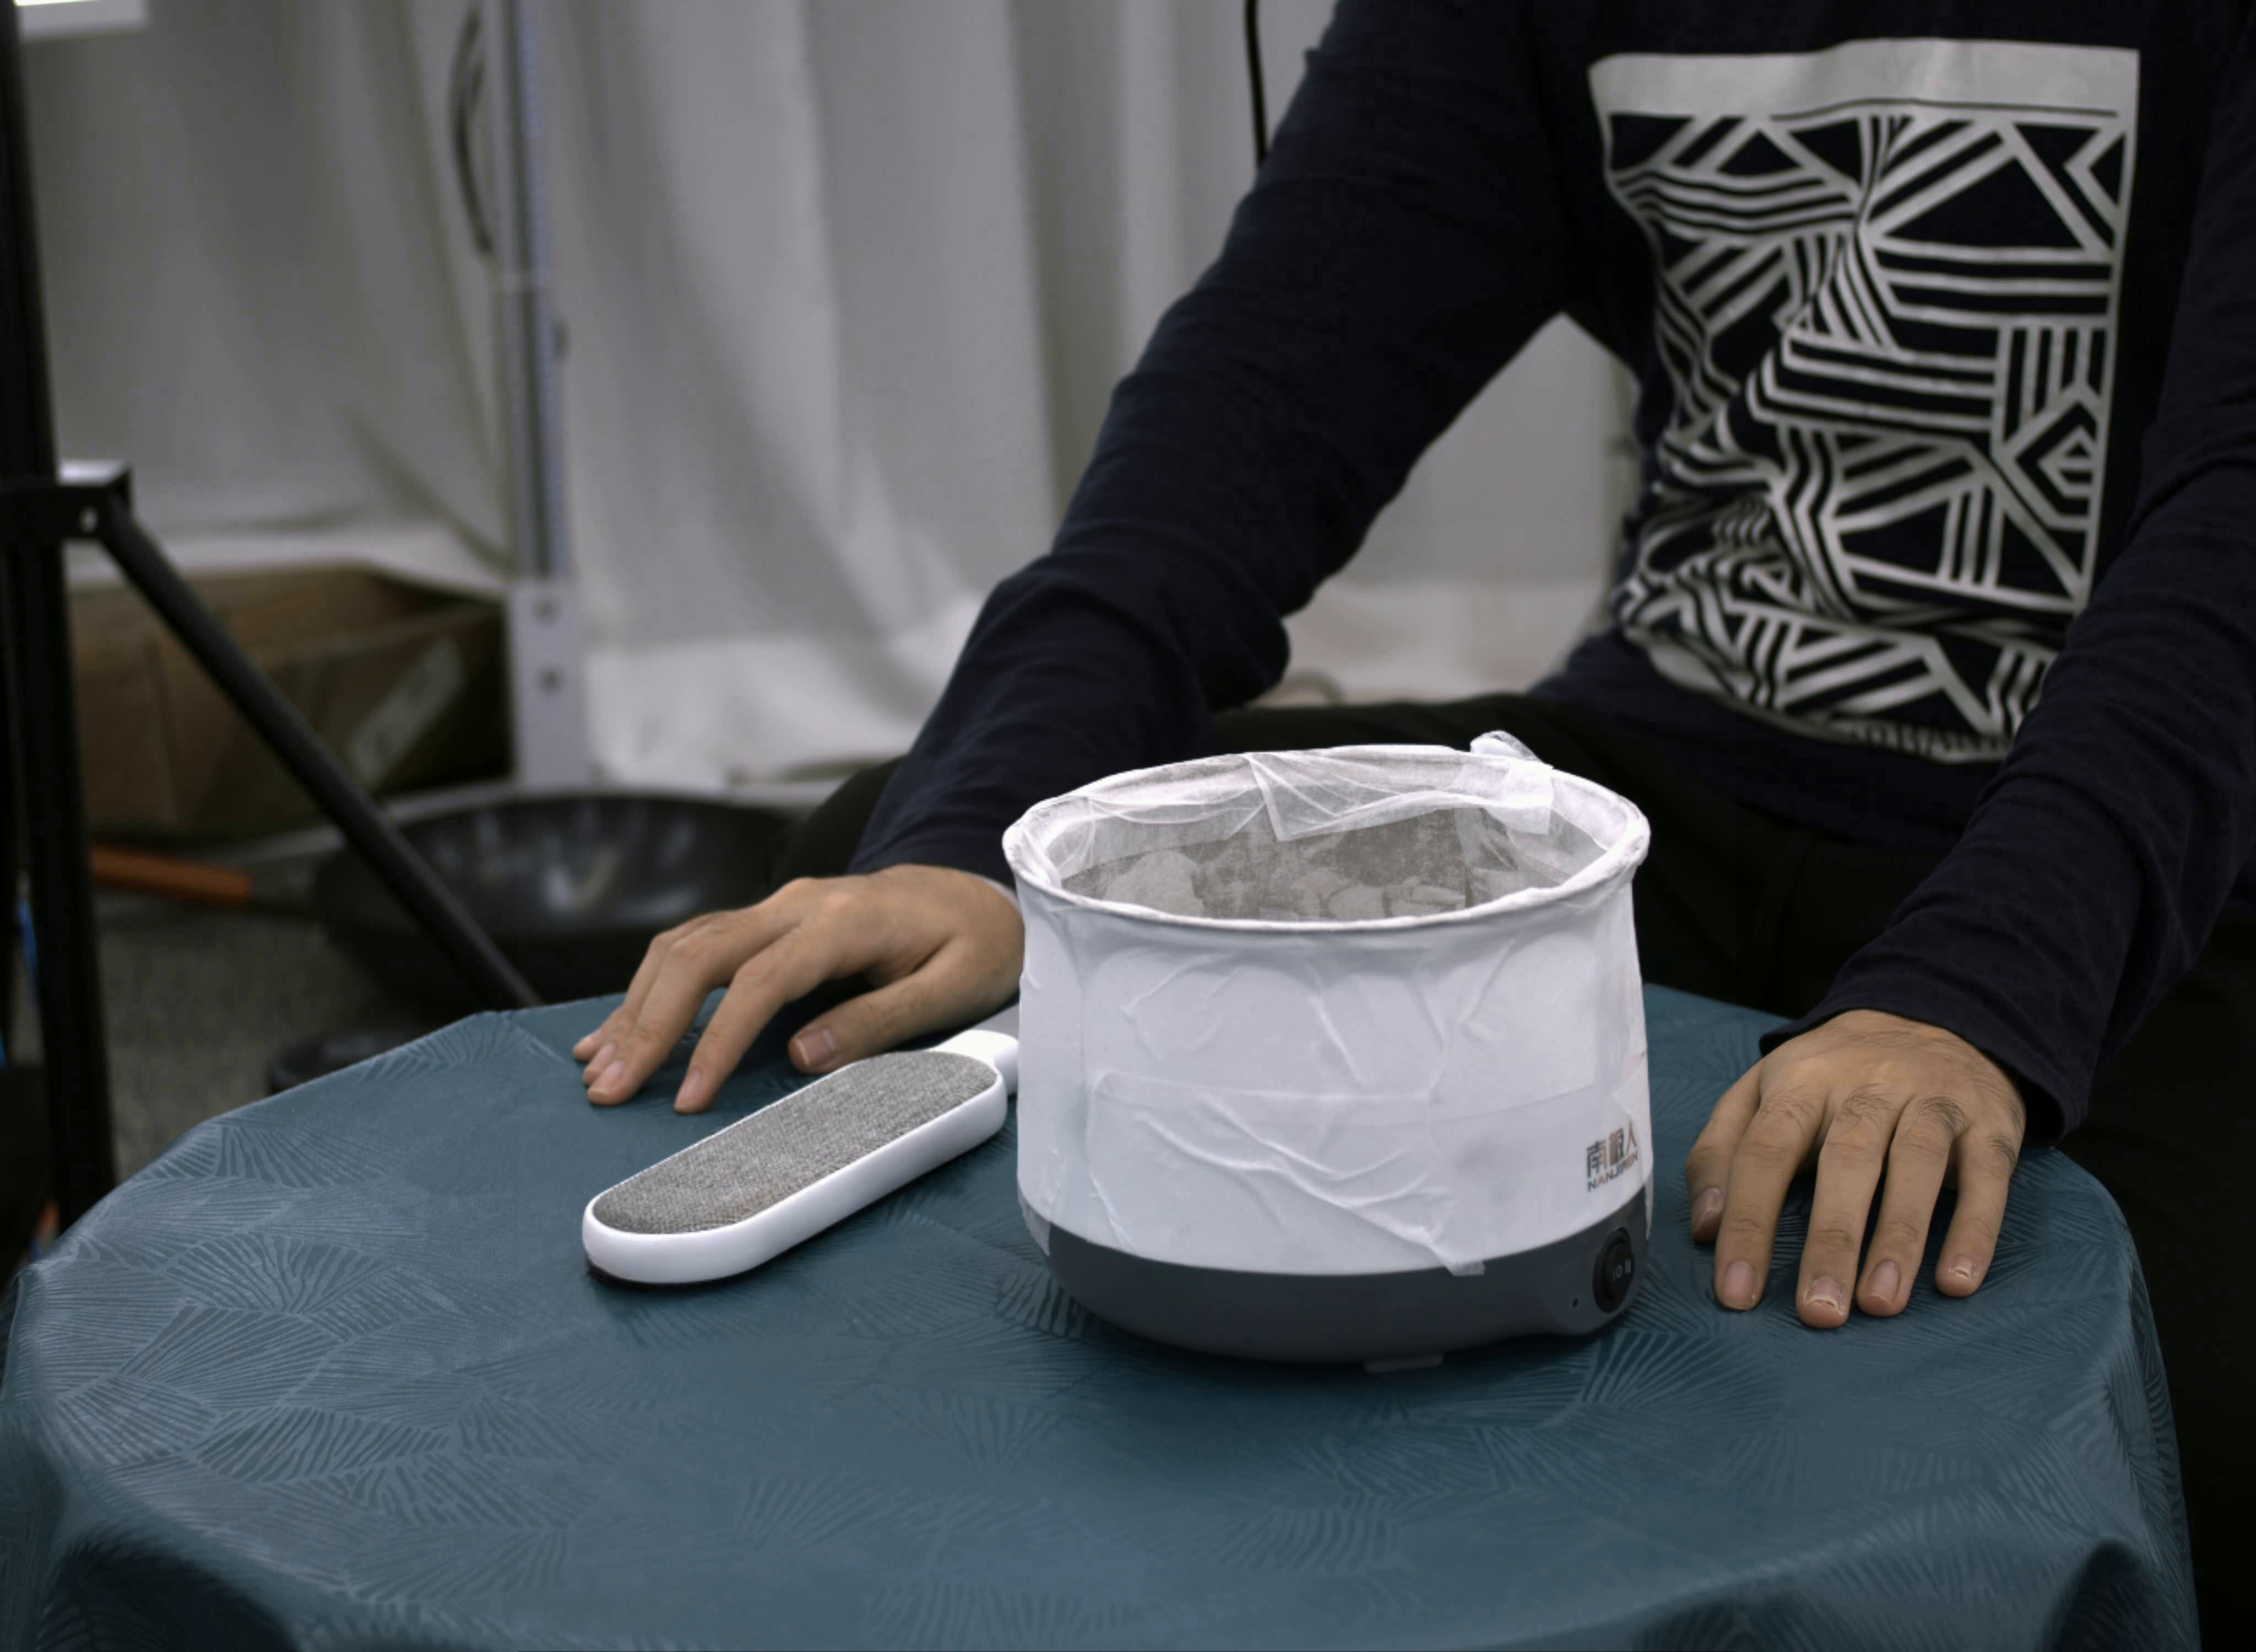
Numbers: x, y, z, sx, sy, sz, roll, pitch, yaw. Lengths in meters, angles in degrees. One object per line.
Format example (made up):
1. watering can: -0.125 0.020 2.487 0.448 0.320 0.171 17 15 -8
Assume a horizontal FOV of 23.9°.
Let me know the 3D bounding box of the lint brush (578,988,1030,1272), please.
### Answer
1. lint brush: -0.064 0.081 1.618 0.061 0.021 0.303 0 15 32

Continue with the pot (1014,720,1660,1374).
1. pot: 0.071 0.053 1.484 0.182 0.136 0.229 10 20 30
